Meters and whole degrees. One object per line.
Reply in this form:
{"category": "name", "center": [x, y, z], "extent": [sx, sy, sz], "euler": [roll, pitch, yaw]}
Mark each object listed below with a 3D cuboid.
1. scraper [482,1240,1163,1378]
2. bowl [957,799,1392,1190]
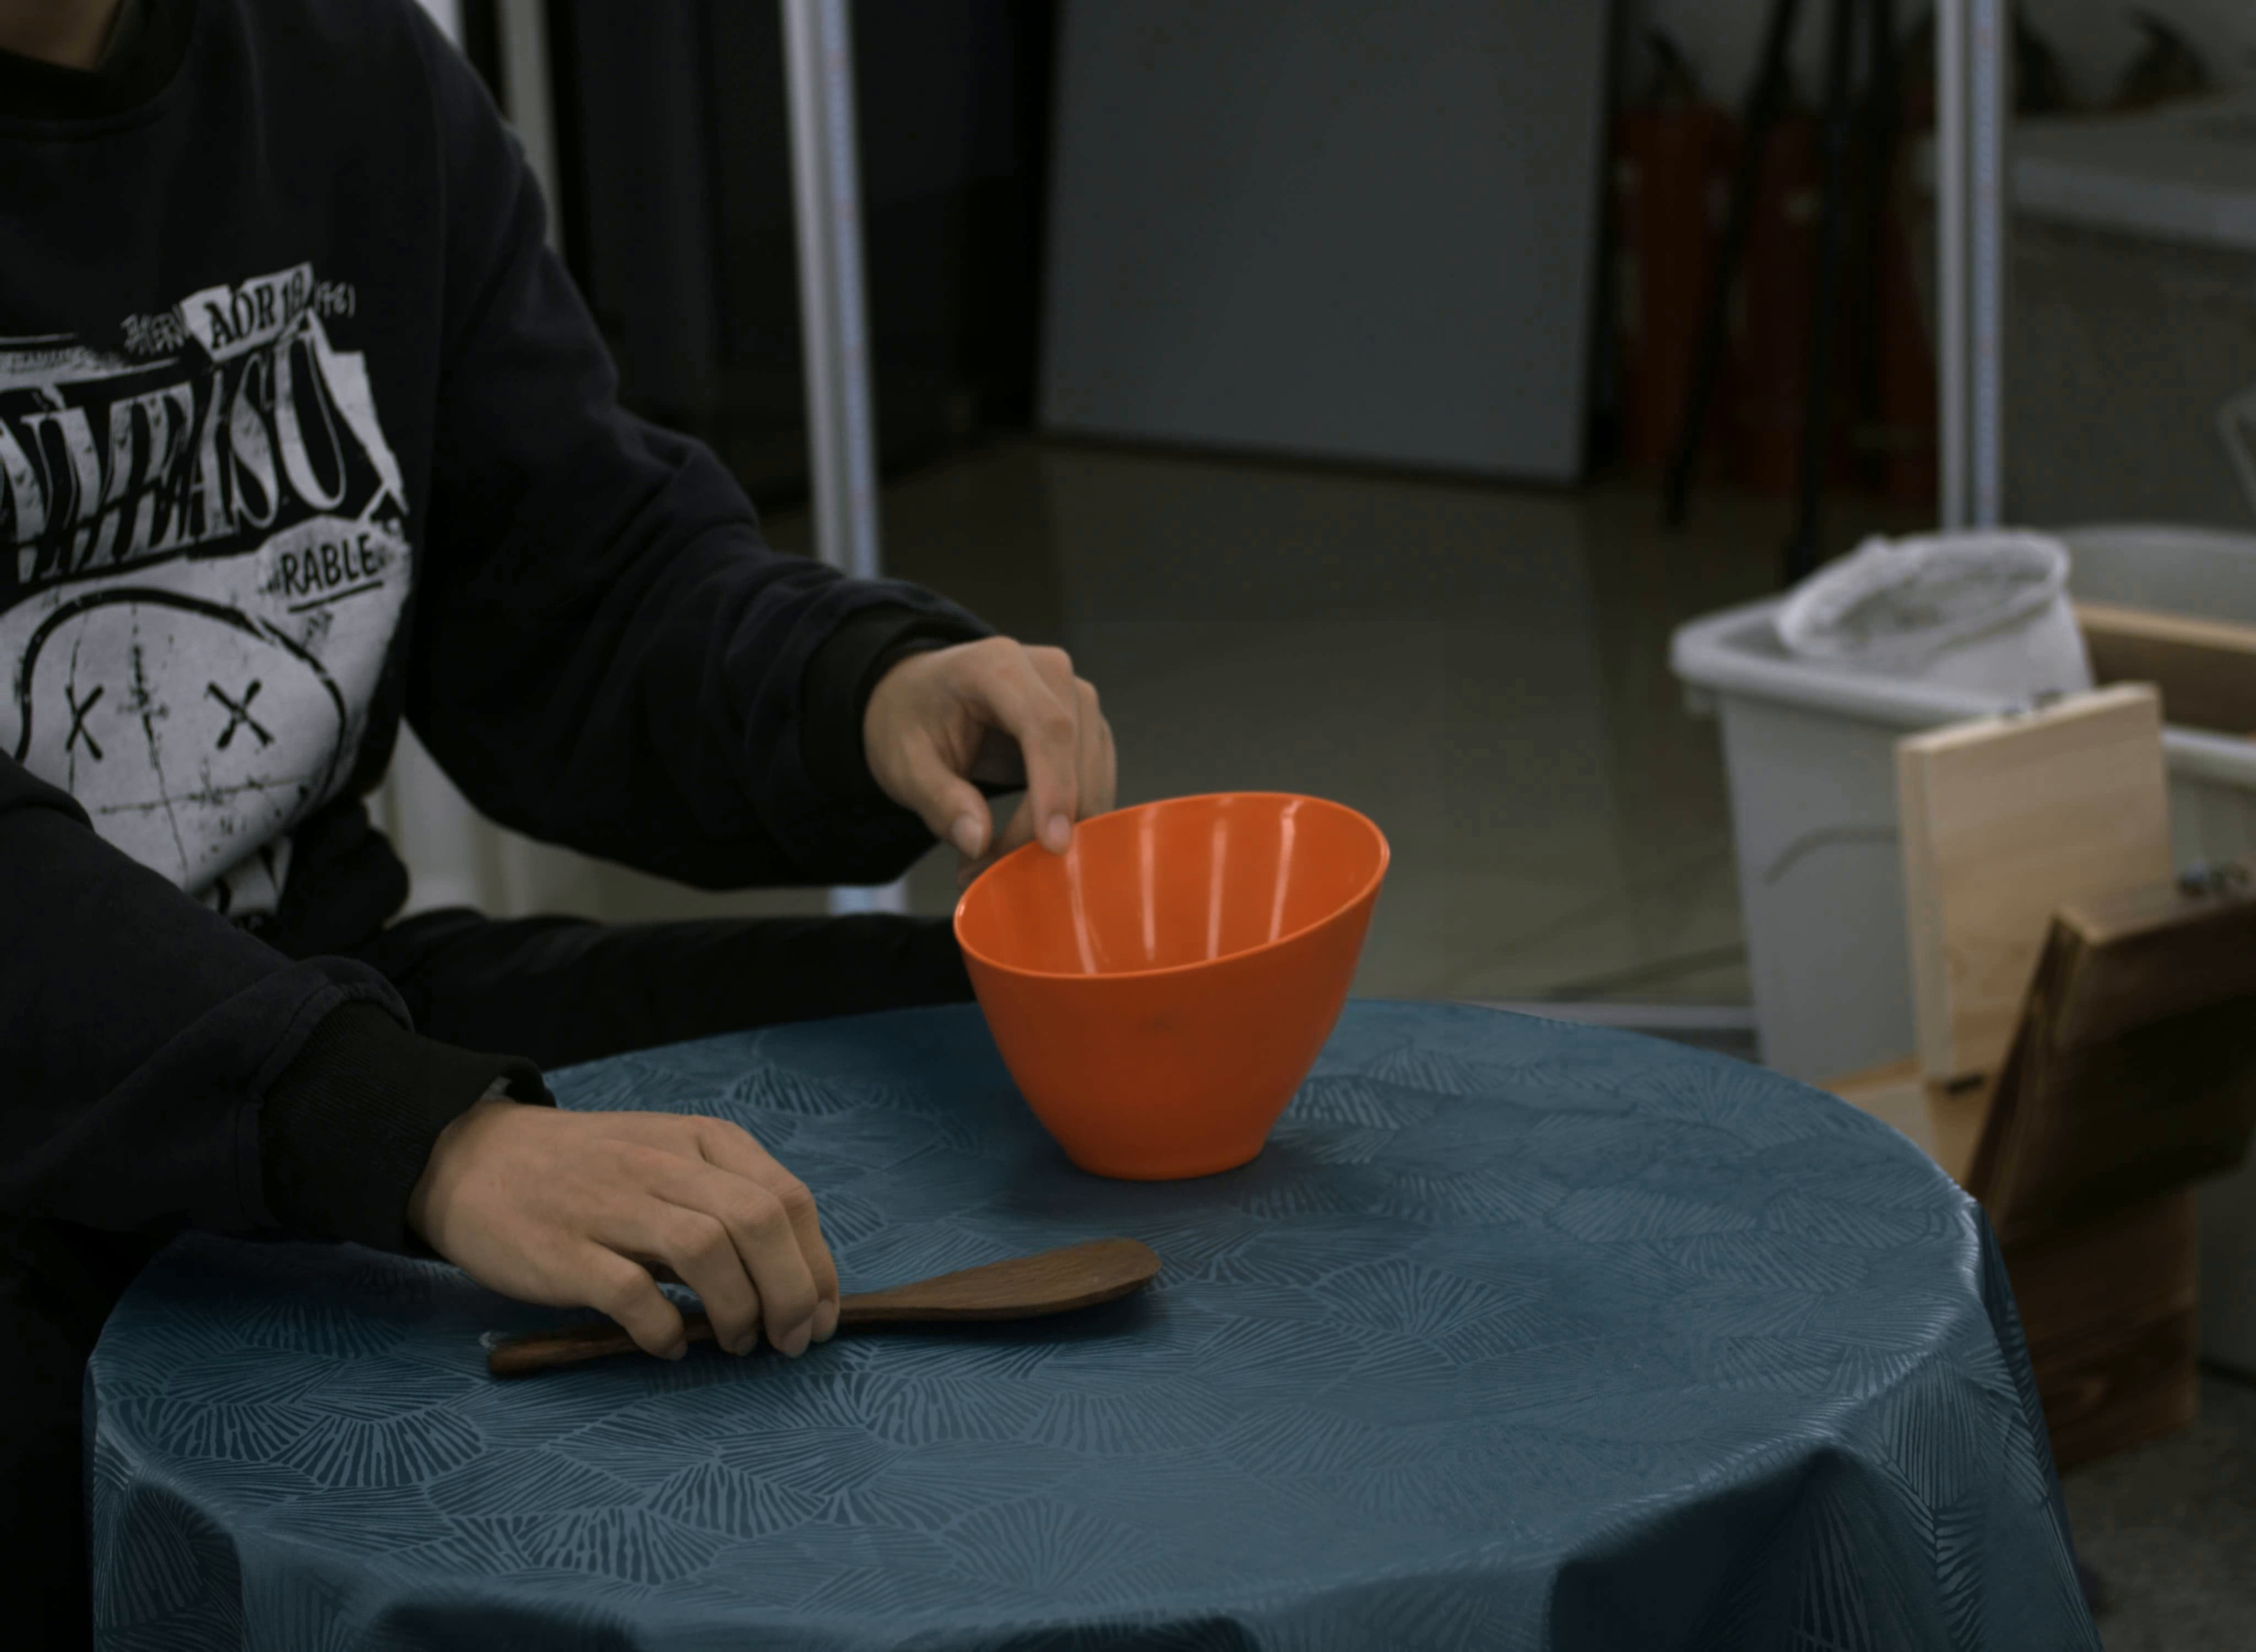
{"category": "scraper", "center": [-0.093, 0.150, 1.654], "extent": [0.208, 0.011, 0.076], "euler": [-8, 6, -7]}
{"category": "bowl", "center": [0.018, 0.059, 1.804], "extent": [0.146, 0.106, 0.148], "euler": [-3, 14, 0]}
